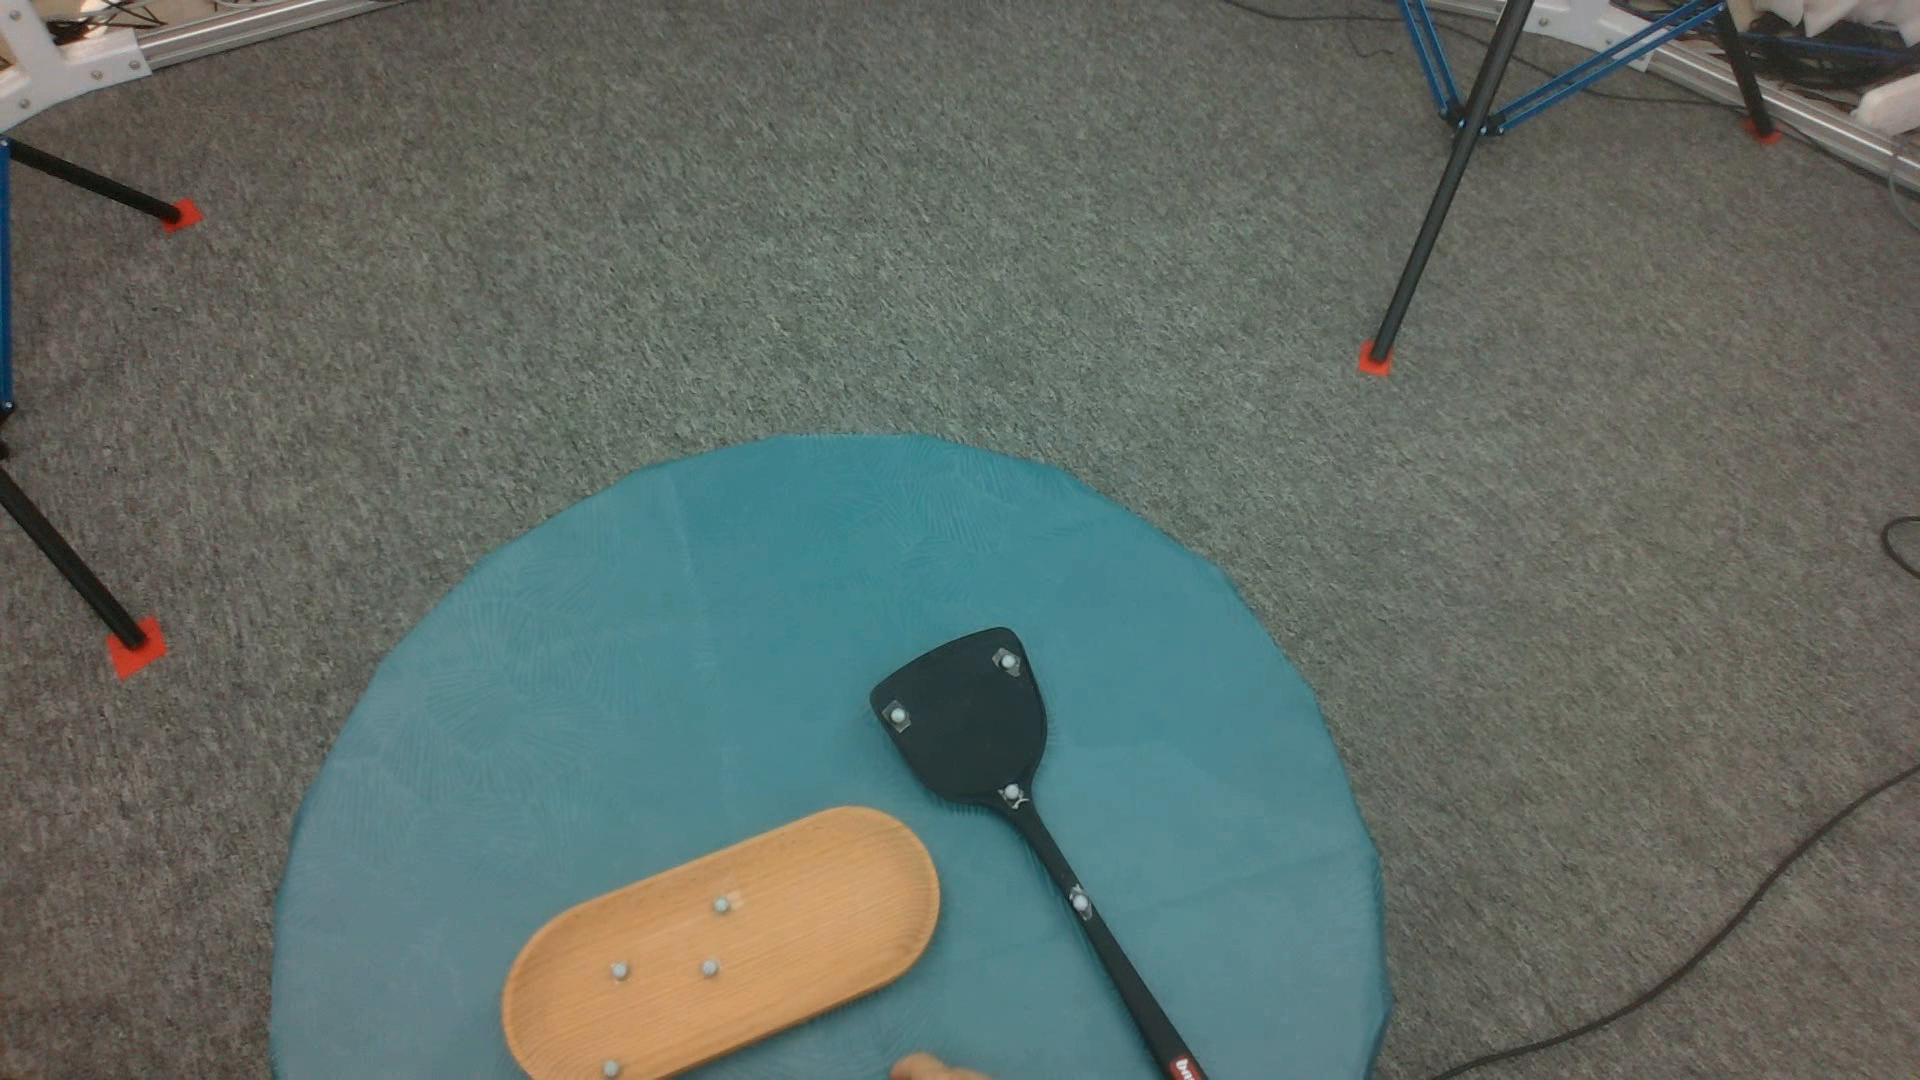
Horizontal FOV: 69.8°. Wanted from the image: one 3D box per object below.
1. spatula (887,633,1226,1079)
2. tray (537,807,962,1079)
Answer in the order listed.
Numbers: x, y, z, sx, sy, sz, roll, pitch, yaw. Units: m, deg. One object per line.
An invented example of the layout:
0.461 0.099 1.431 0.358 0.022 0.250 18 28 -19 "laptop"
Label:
0.074 0.196 0.750 0.100 0.040 0.327 -25 60 -17 "spatula"
-0.110 0.217 0.741 0.231 0.020 0.102 -18 59 -15 "tray"
